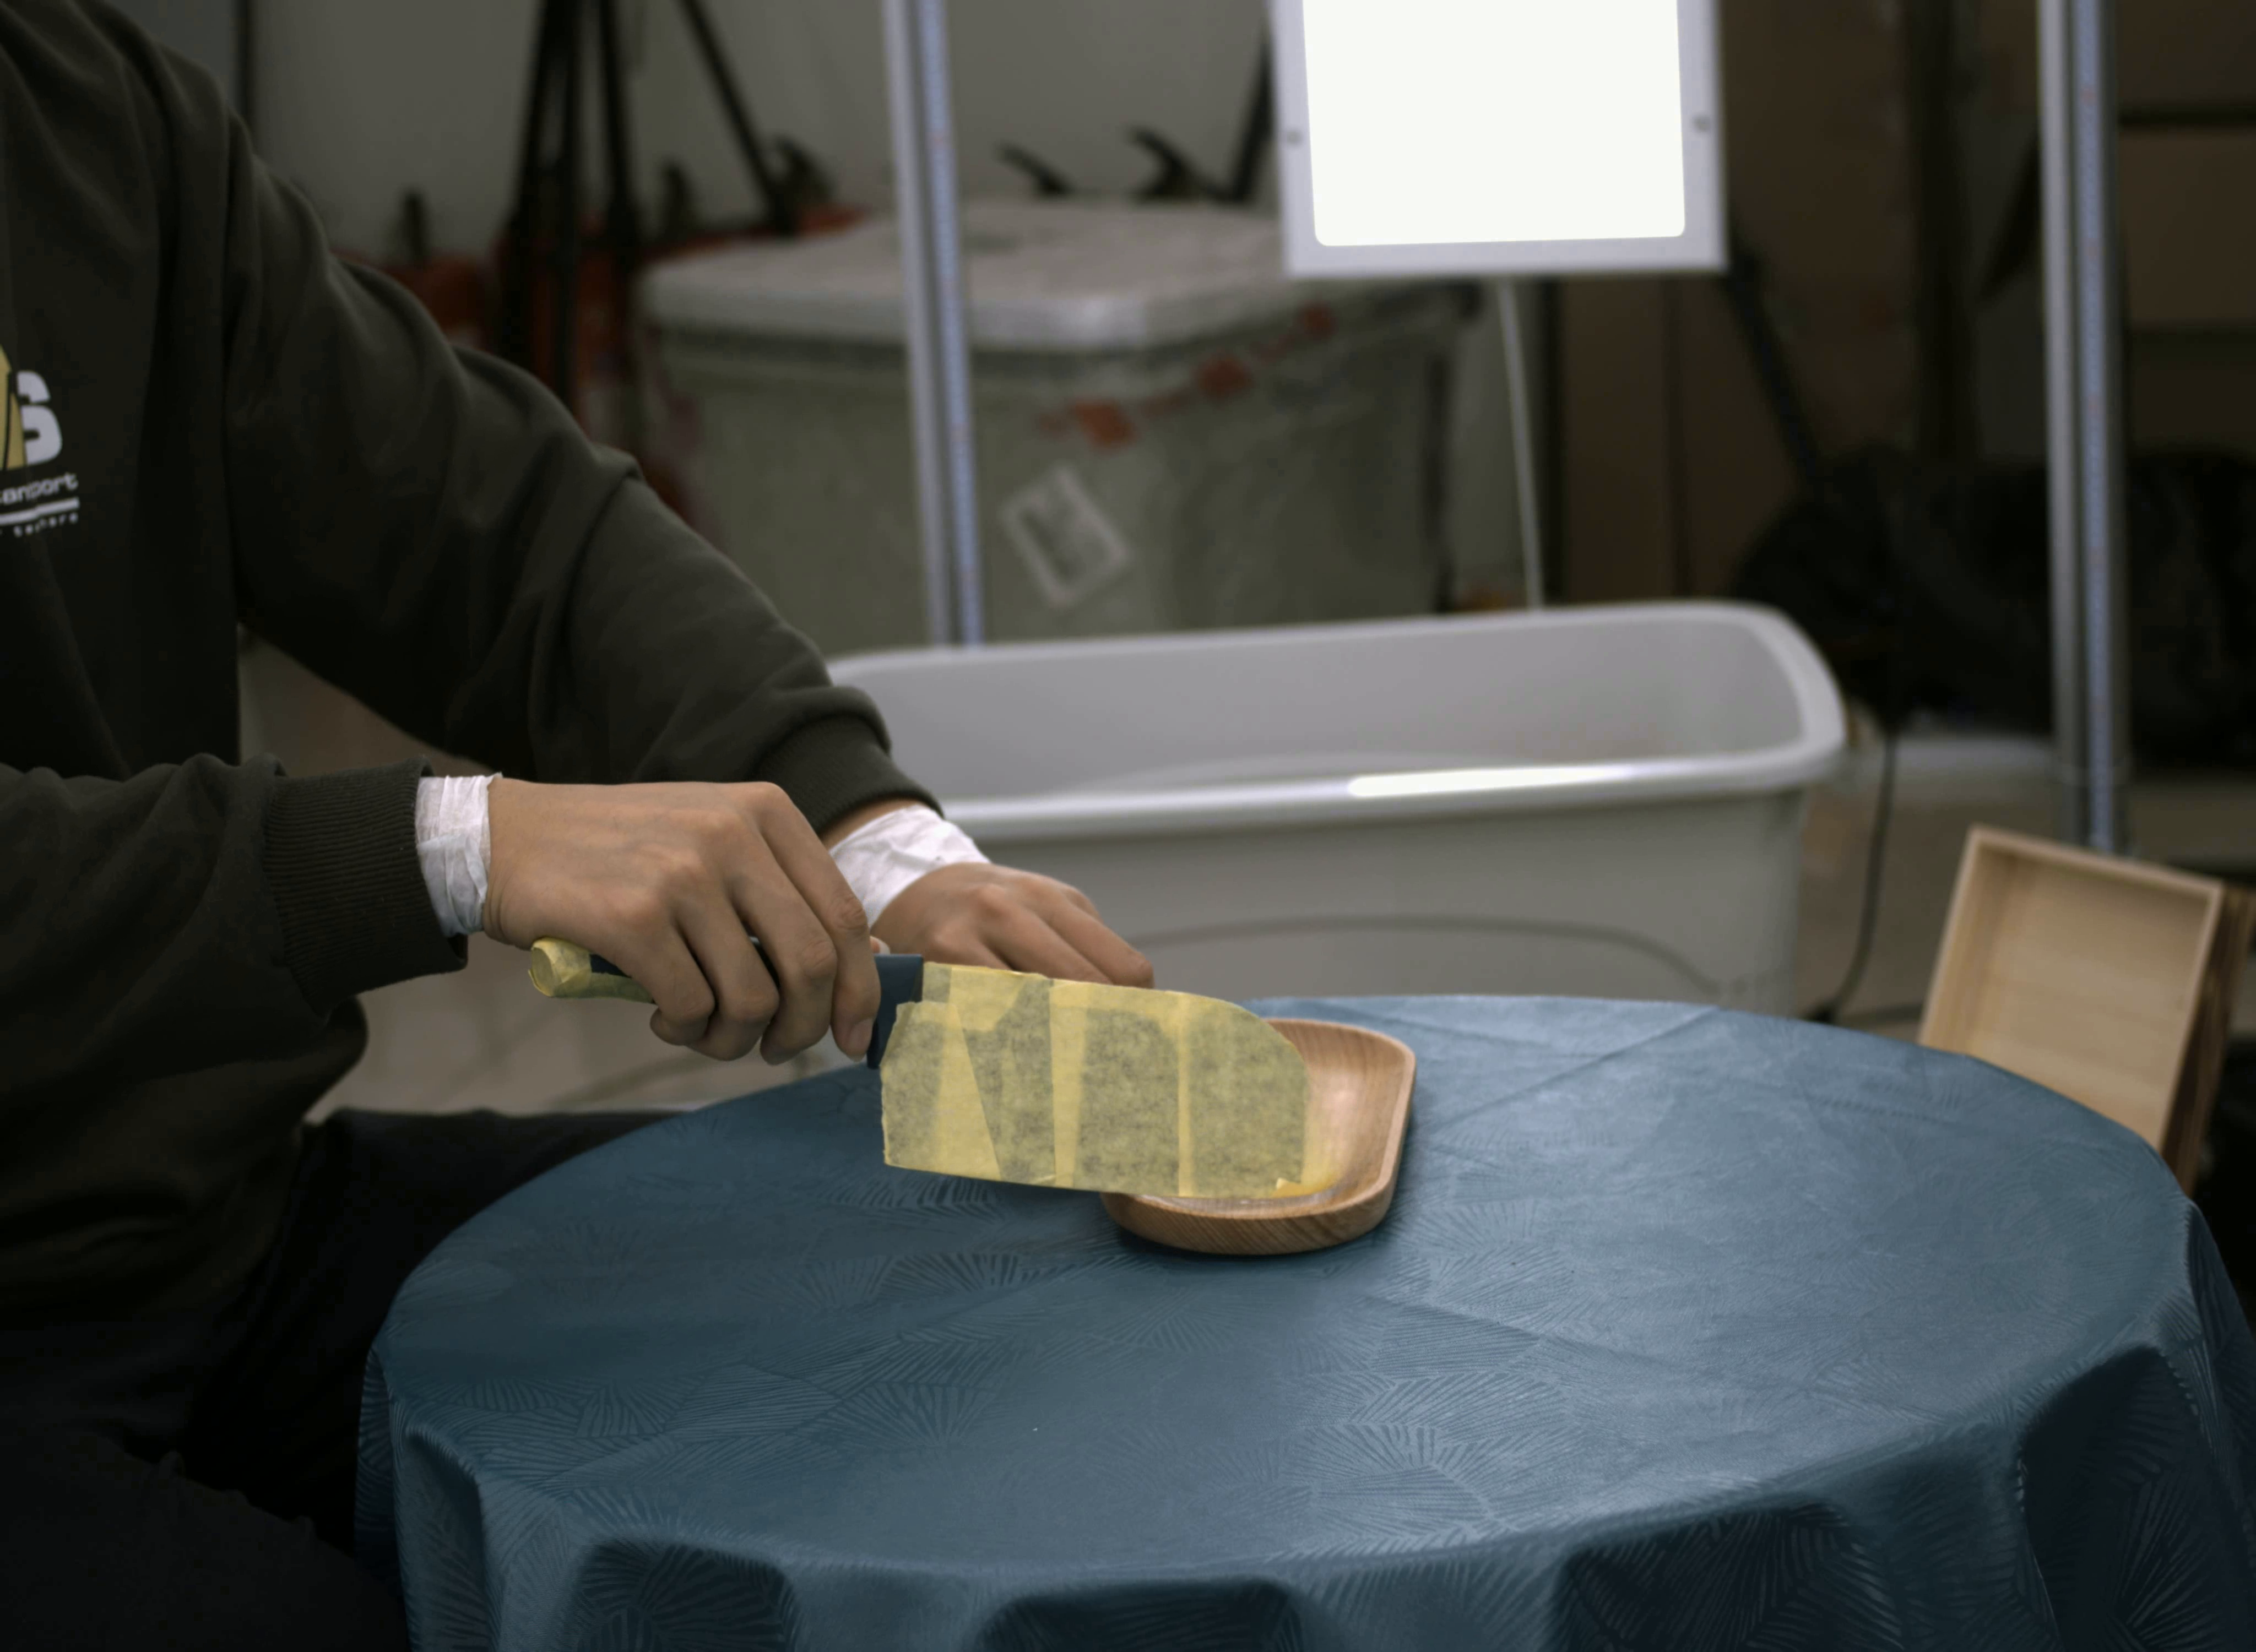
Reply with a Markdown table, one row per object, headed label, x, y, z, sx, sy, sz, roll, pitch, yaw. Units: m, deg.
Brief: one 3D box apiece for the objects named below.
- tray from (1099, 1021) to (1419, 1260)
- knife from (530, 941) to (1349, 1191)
| label | x | y | z | sx | sy | sz | roll | pitch | yaw |
| --- | --- | --- | --- | --- | --- | --- | --- | --- | --- |
| tray | 0.048 | 0.108 | 1.918 | 0.102 | 0.020 | 0.229 | 0 | 16 | 7 |
| knife | -0.058 | 0.079 | 1.820 | 0.285 | 0.081 | 0.027 | 9 | -24 | -17 |
